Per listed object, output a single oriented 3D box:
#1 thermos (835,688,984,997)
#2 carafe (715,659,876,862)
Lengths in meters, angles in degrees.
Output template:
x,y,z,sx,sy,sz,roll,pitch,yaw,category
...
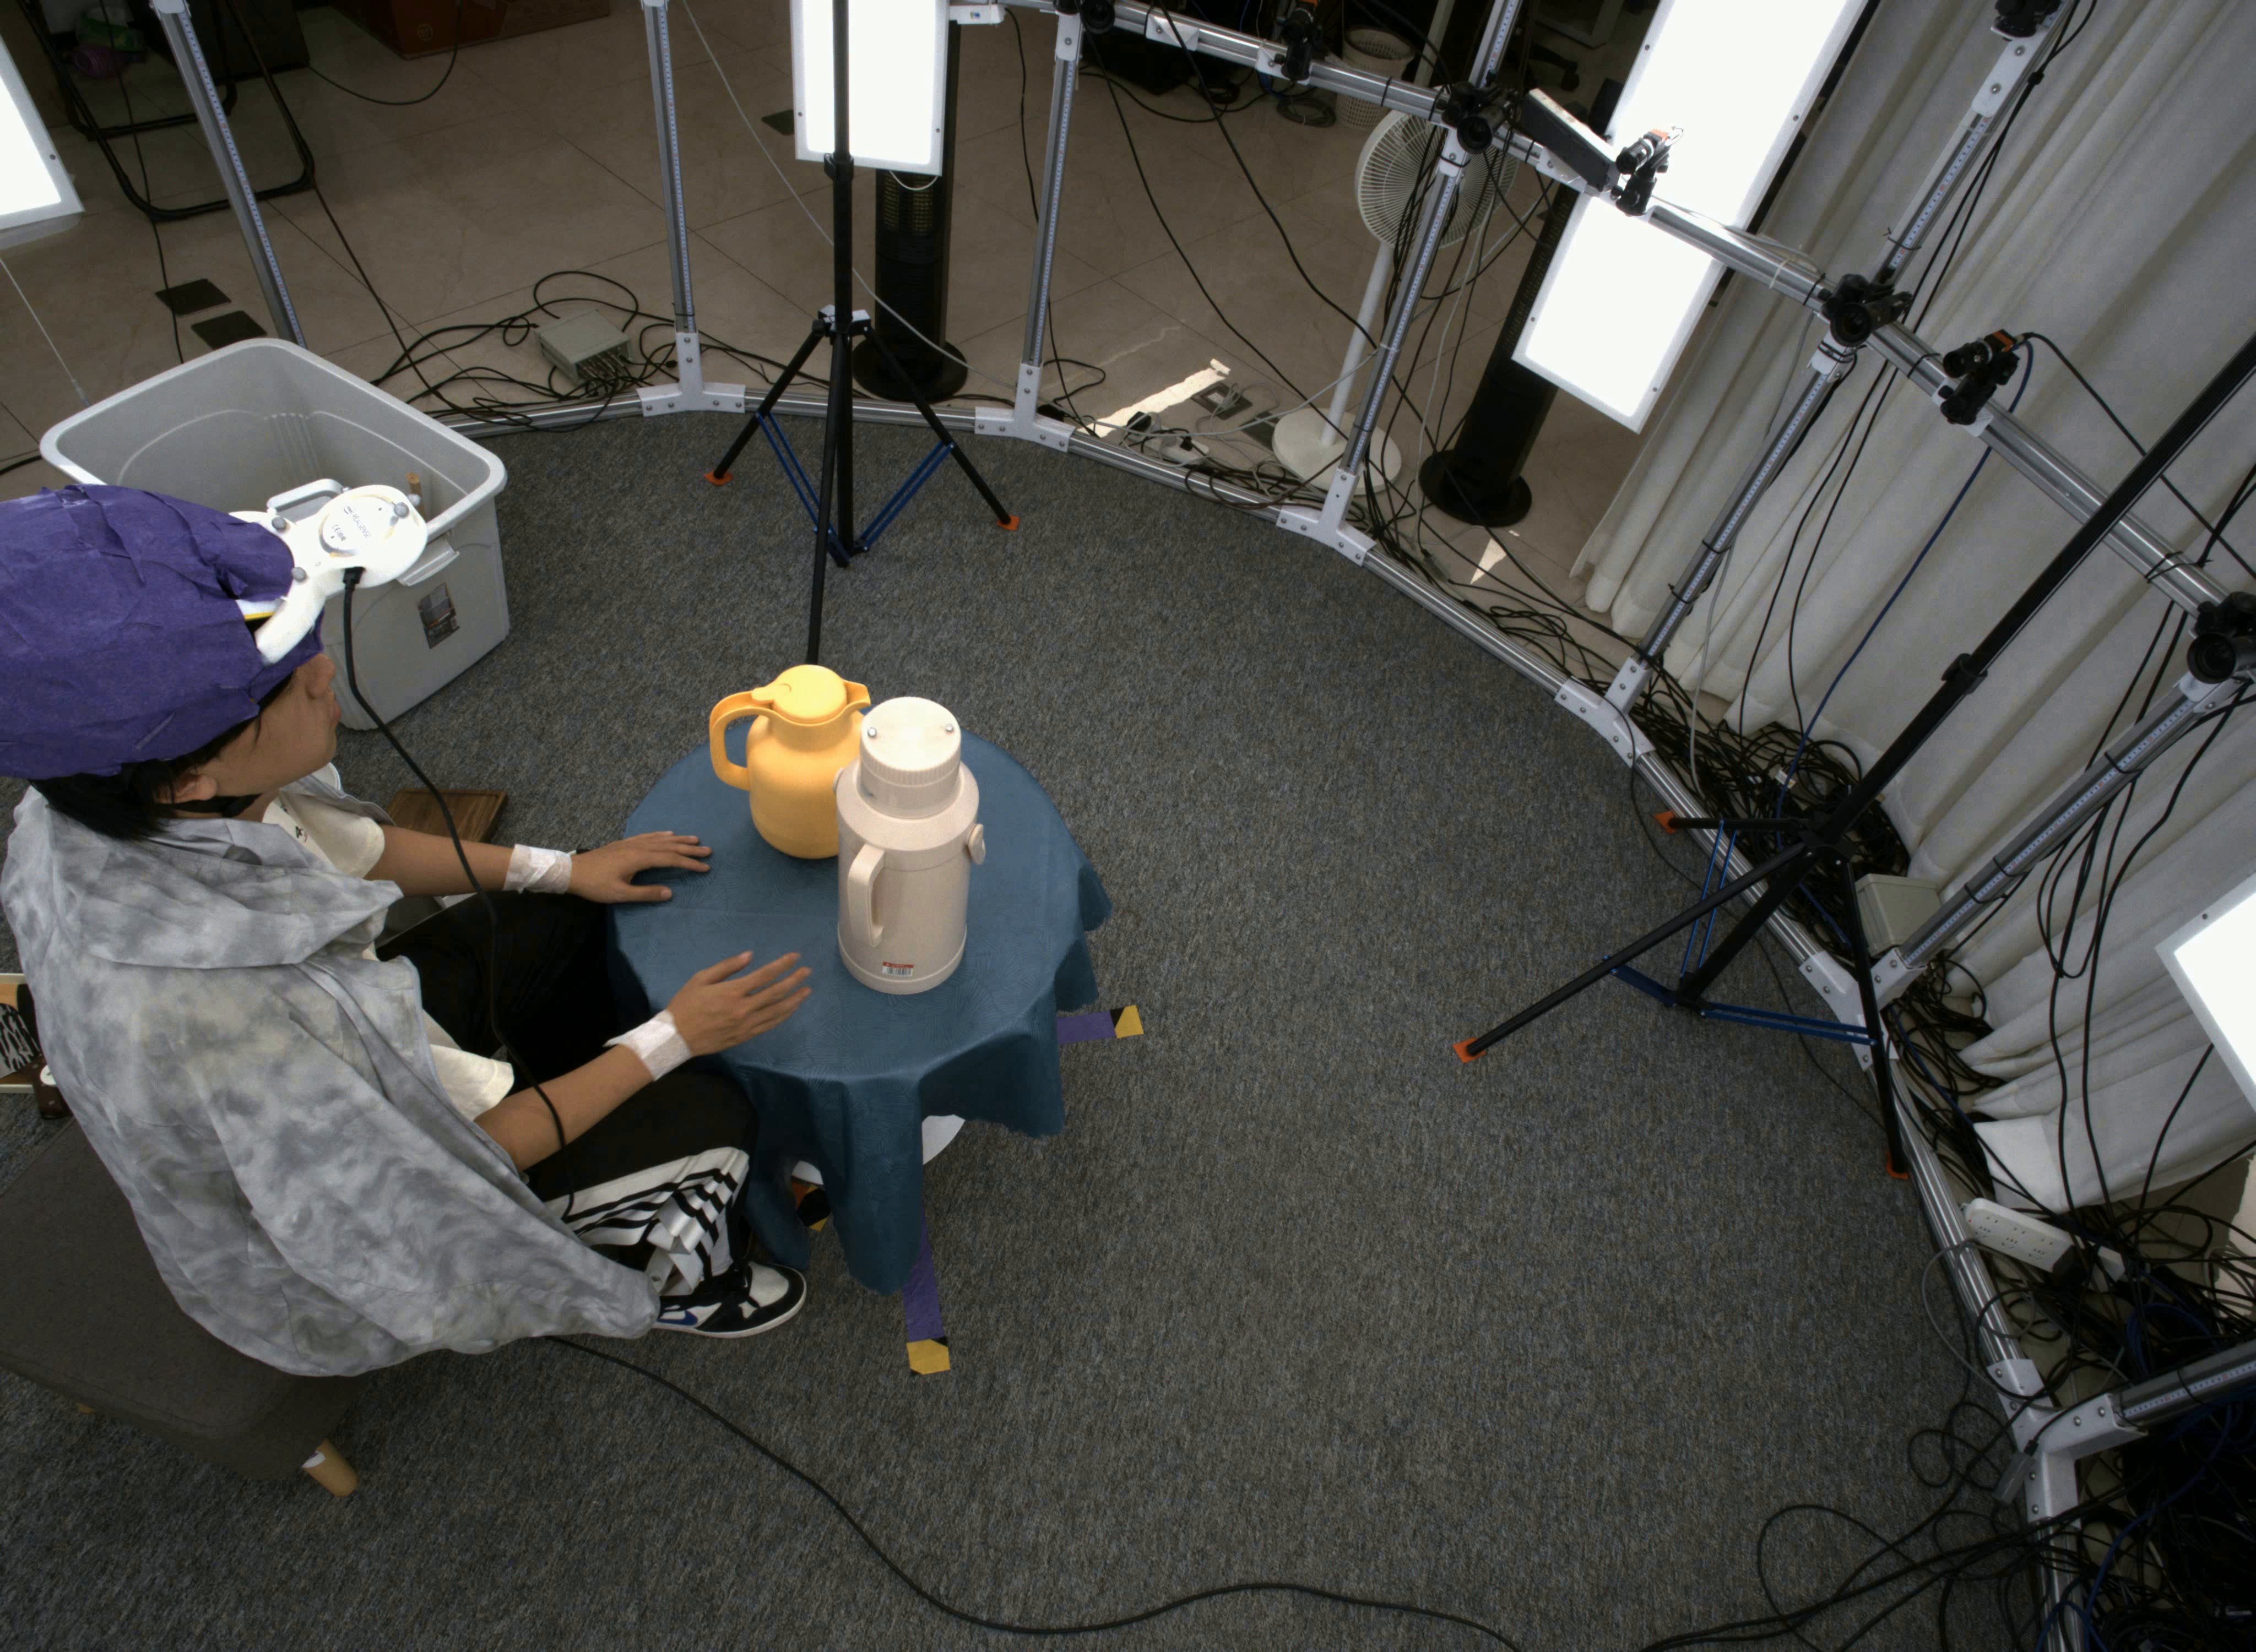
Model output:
x,y,z,sx,sy,sz,roll,pitch,yaw,category
-0.259,0.032,1.487,0.173,0.415,0.205,22,51,6,thermos
-0.412,-0.088,1.626,0.203,0.266,0.159,-3,51,-15,carafe
